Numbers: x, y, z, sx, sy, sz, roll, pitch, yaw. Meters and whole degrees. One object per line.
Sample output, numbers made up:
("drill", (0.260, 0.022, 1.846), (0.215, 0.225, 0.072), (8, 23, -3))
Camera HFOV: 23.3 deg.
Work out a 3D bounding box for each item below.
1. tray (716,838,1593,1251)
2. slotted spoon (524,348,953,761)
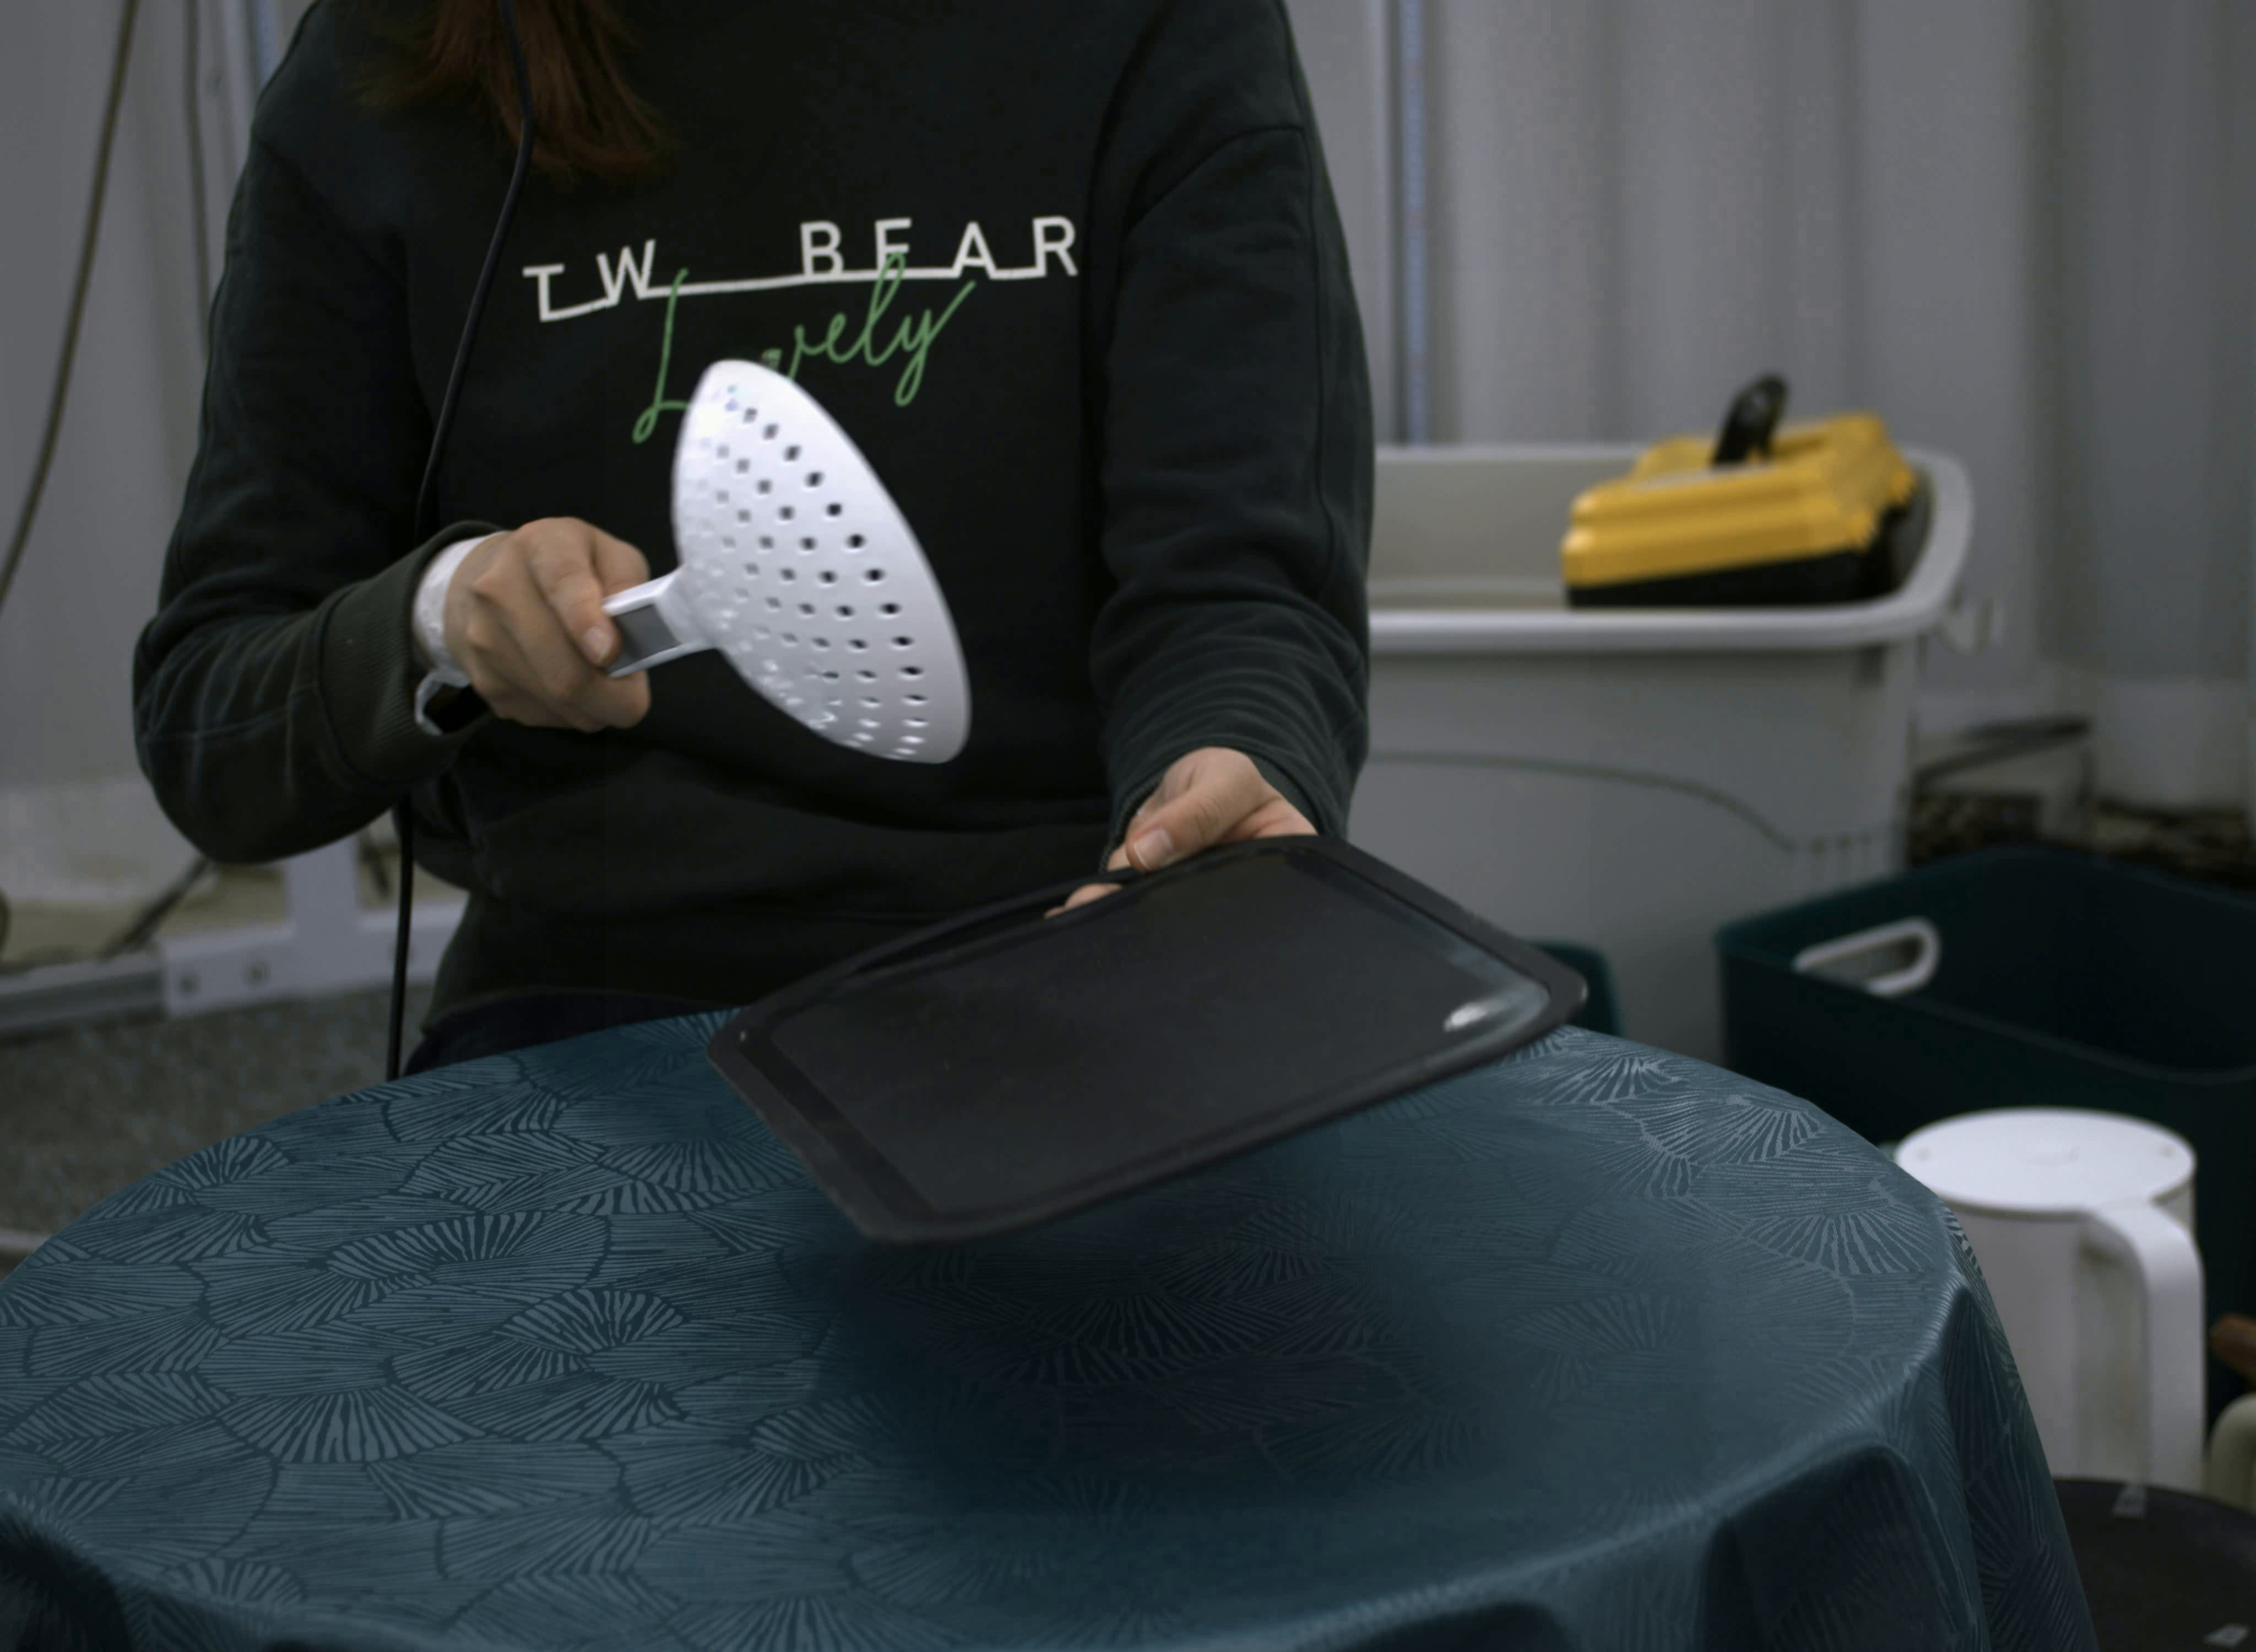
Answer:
("tray", (-0.004, 0.056, 1.581), (0.210, 0.010, 0.327), (-19, 14, -11))
("slotted spoon", (-0.135, -0.069, 1.718), (0.046, 0.136, 0.350), (-28, 6, -16))
